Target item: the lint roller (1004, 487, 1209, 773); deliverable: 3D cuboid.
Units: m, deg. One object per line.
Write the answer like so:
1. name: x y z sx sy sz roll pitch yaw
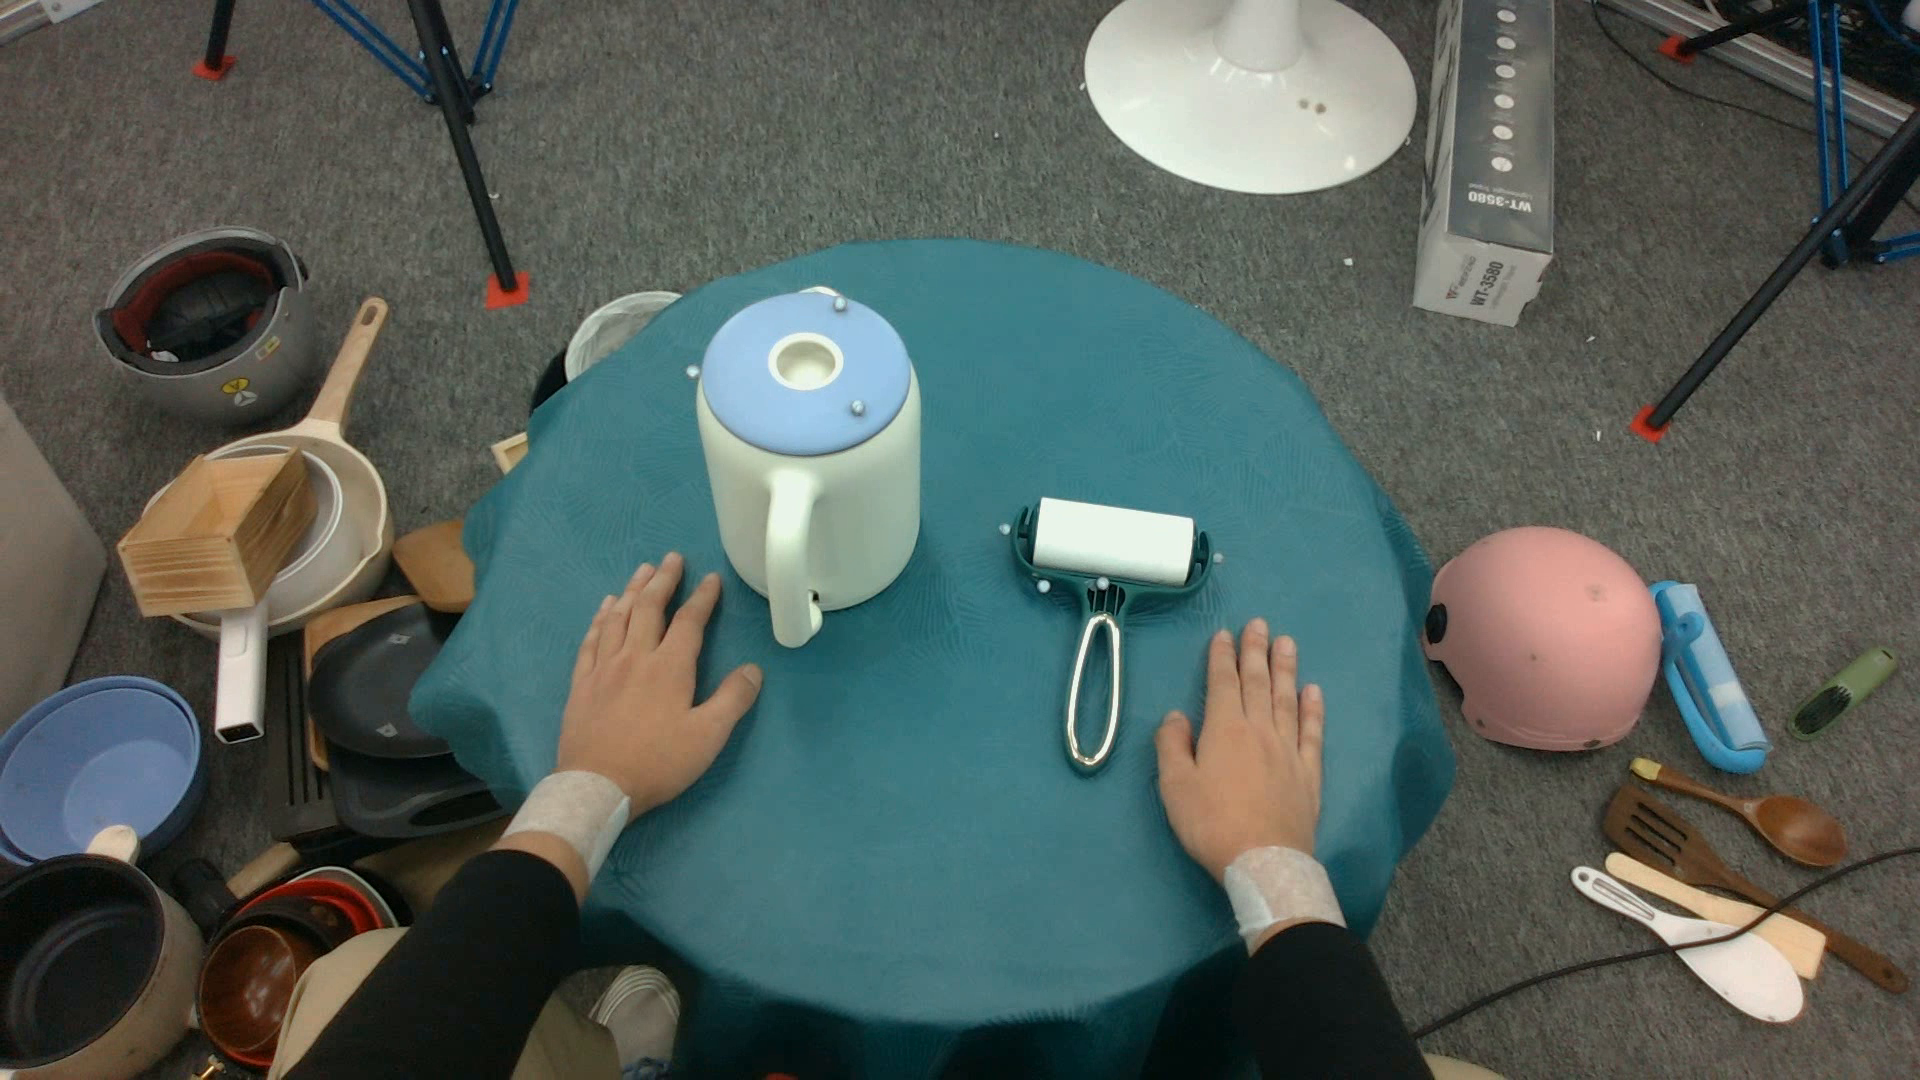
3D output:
1. lint roller: 0.084 0.053 0.861 0.134 0.048 0.181 8 59 2

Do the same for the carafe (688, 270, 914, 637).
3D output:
1. carafe: -0.096 -0.038 0.833 0.132 0.181 0.192 3 59 -1
